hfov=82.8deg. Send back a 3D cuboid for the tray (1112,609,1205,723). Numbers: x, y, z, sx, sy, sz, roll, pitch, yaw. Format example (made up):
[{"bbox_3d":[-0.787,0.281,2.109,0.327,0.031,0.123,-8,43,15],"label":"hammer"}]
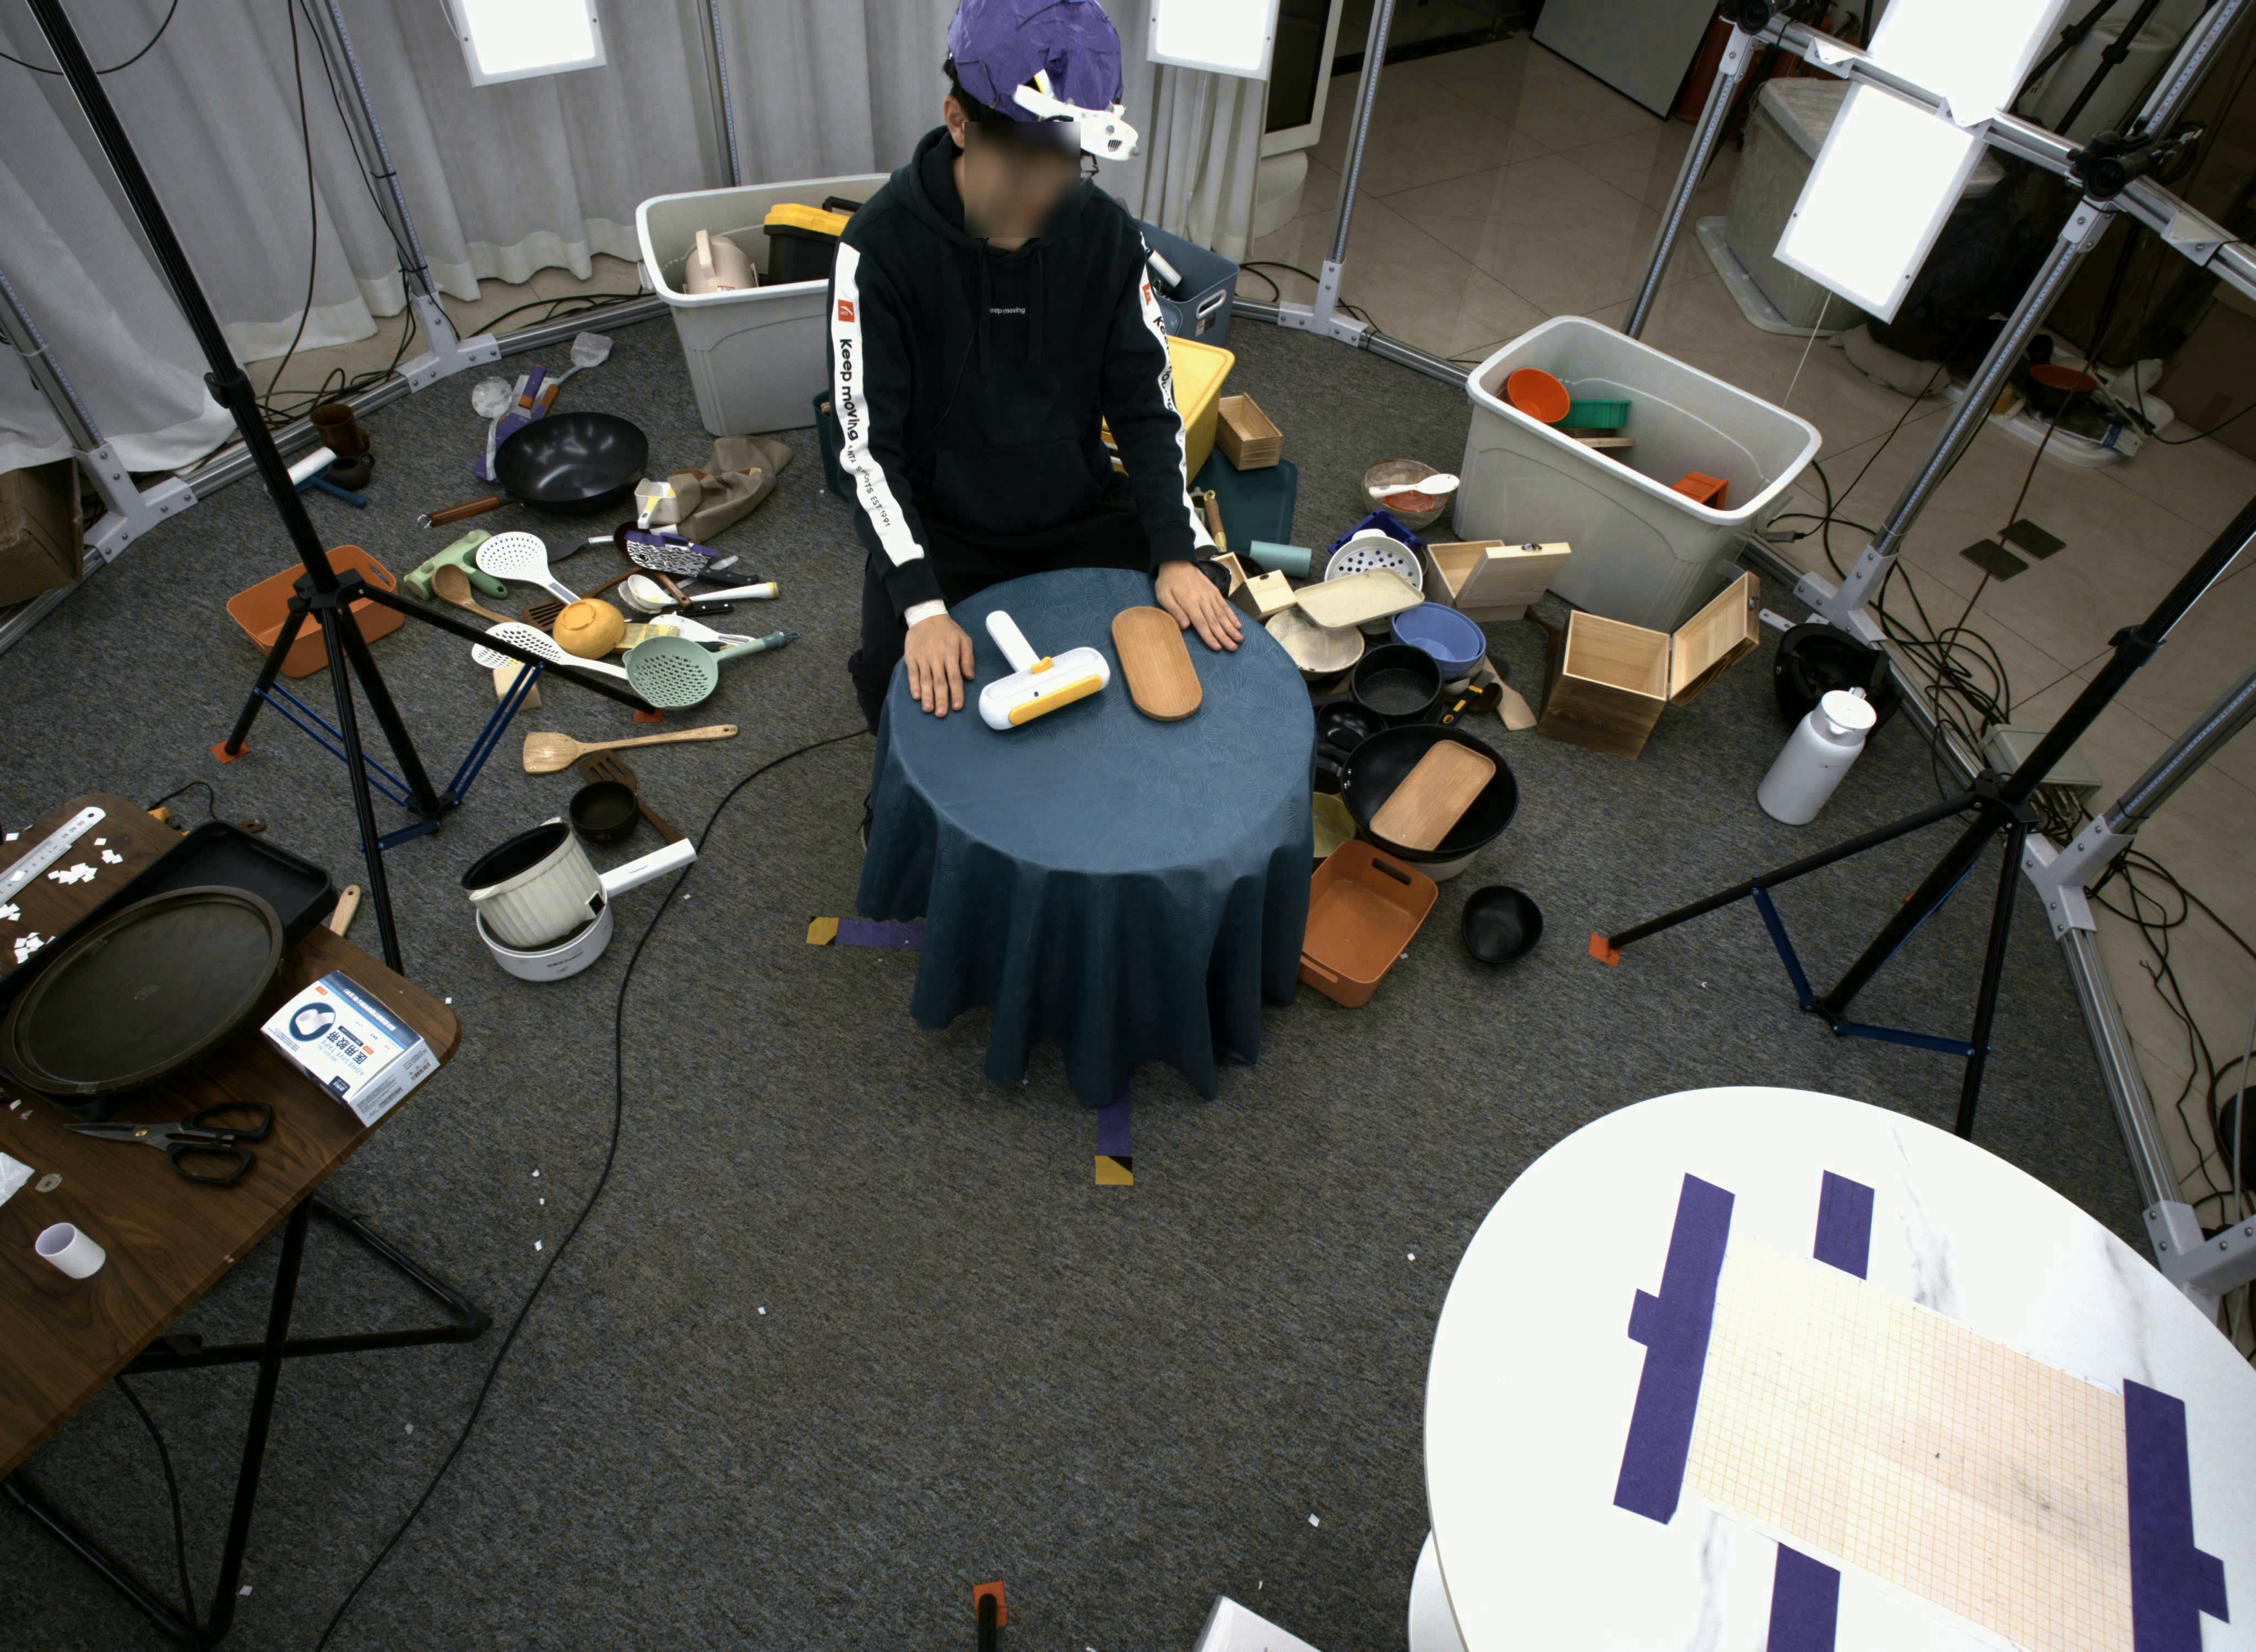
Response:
[{"bbox_3d":[0.043,-0.235,1.864,0.101,0.020,0.237,-9,51,-10],"label":"tray"}]

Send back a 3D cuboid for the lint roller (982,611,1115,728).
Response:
[{"bbox_3d":[-0.142,-0.235,1.819,0.194,0.072,0.196,-31,50,-17],"label":"lint roller"}]
